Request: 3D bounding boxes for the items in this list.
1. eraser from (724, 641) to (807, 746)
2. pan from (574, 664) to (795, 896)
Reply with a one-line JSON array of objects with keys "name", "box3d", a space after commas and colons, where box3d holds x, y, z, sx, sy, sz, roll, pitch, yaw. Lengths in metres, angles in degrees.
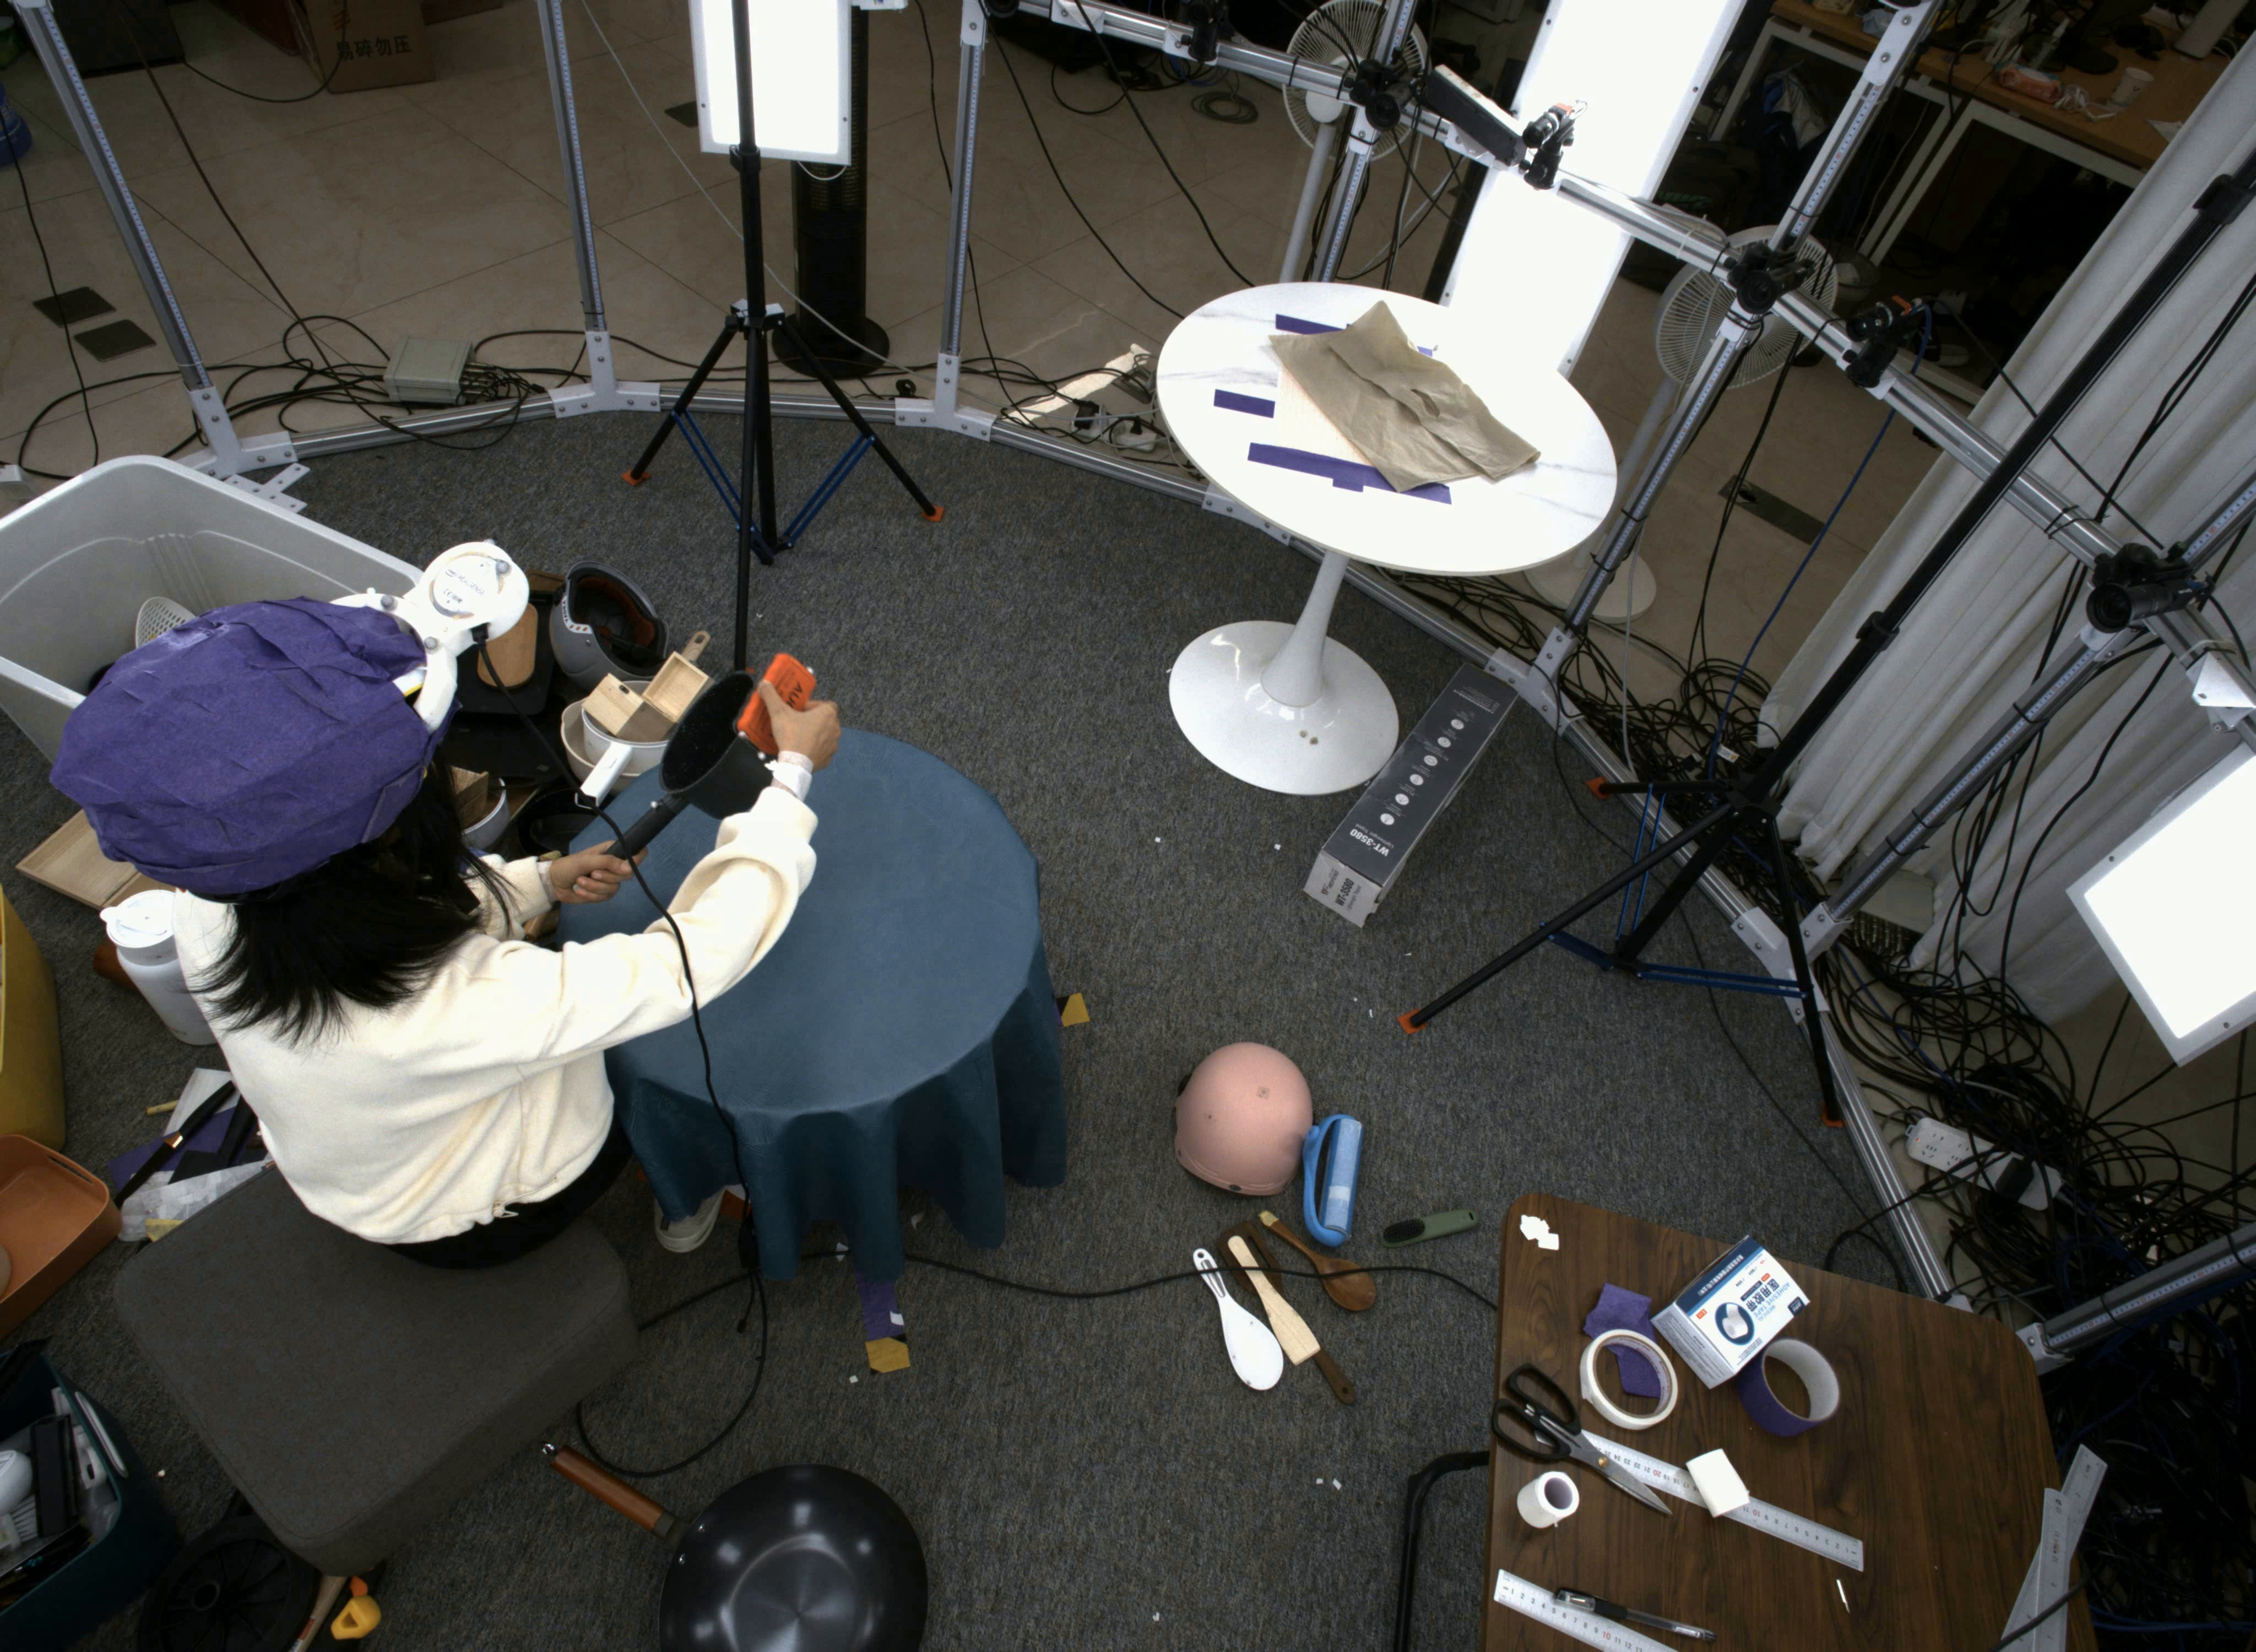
[{"name": "eraser", "box3d": [-0.400, -0.147, 1.428, 0.022, 0.061, 0.107, 8, 63, 32]}, {"name": "pan", "box3d": [-0.526, -0.038, 1.521, 0.329, 0.089, 0.165, -50, 39, -2]}]
